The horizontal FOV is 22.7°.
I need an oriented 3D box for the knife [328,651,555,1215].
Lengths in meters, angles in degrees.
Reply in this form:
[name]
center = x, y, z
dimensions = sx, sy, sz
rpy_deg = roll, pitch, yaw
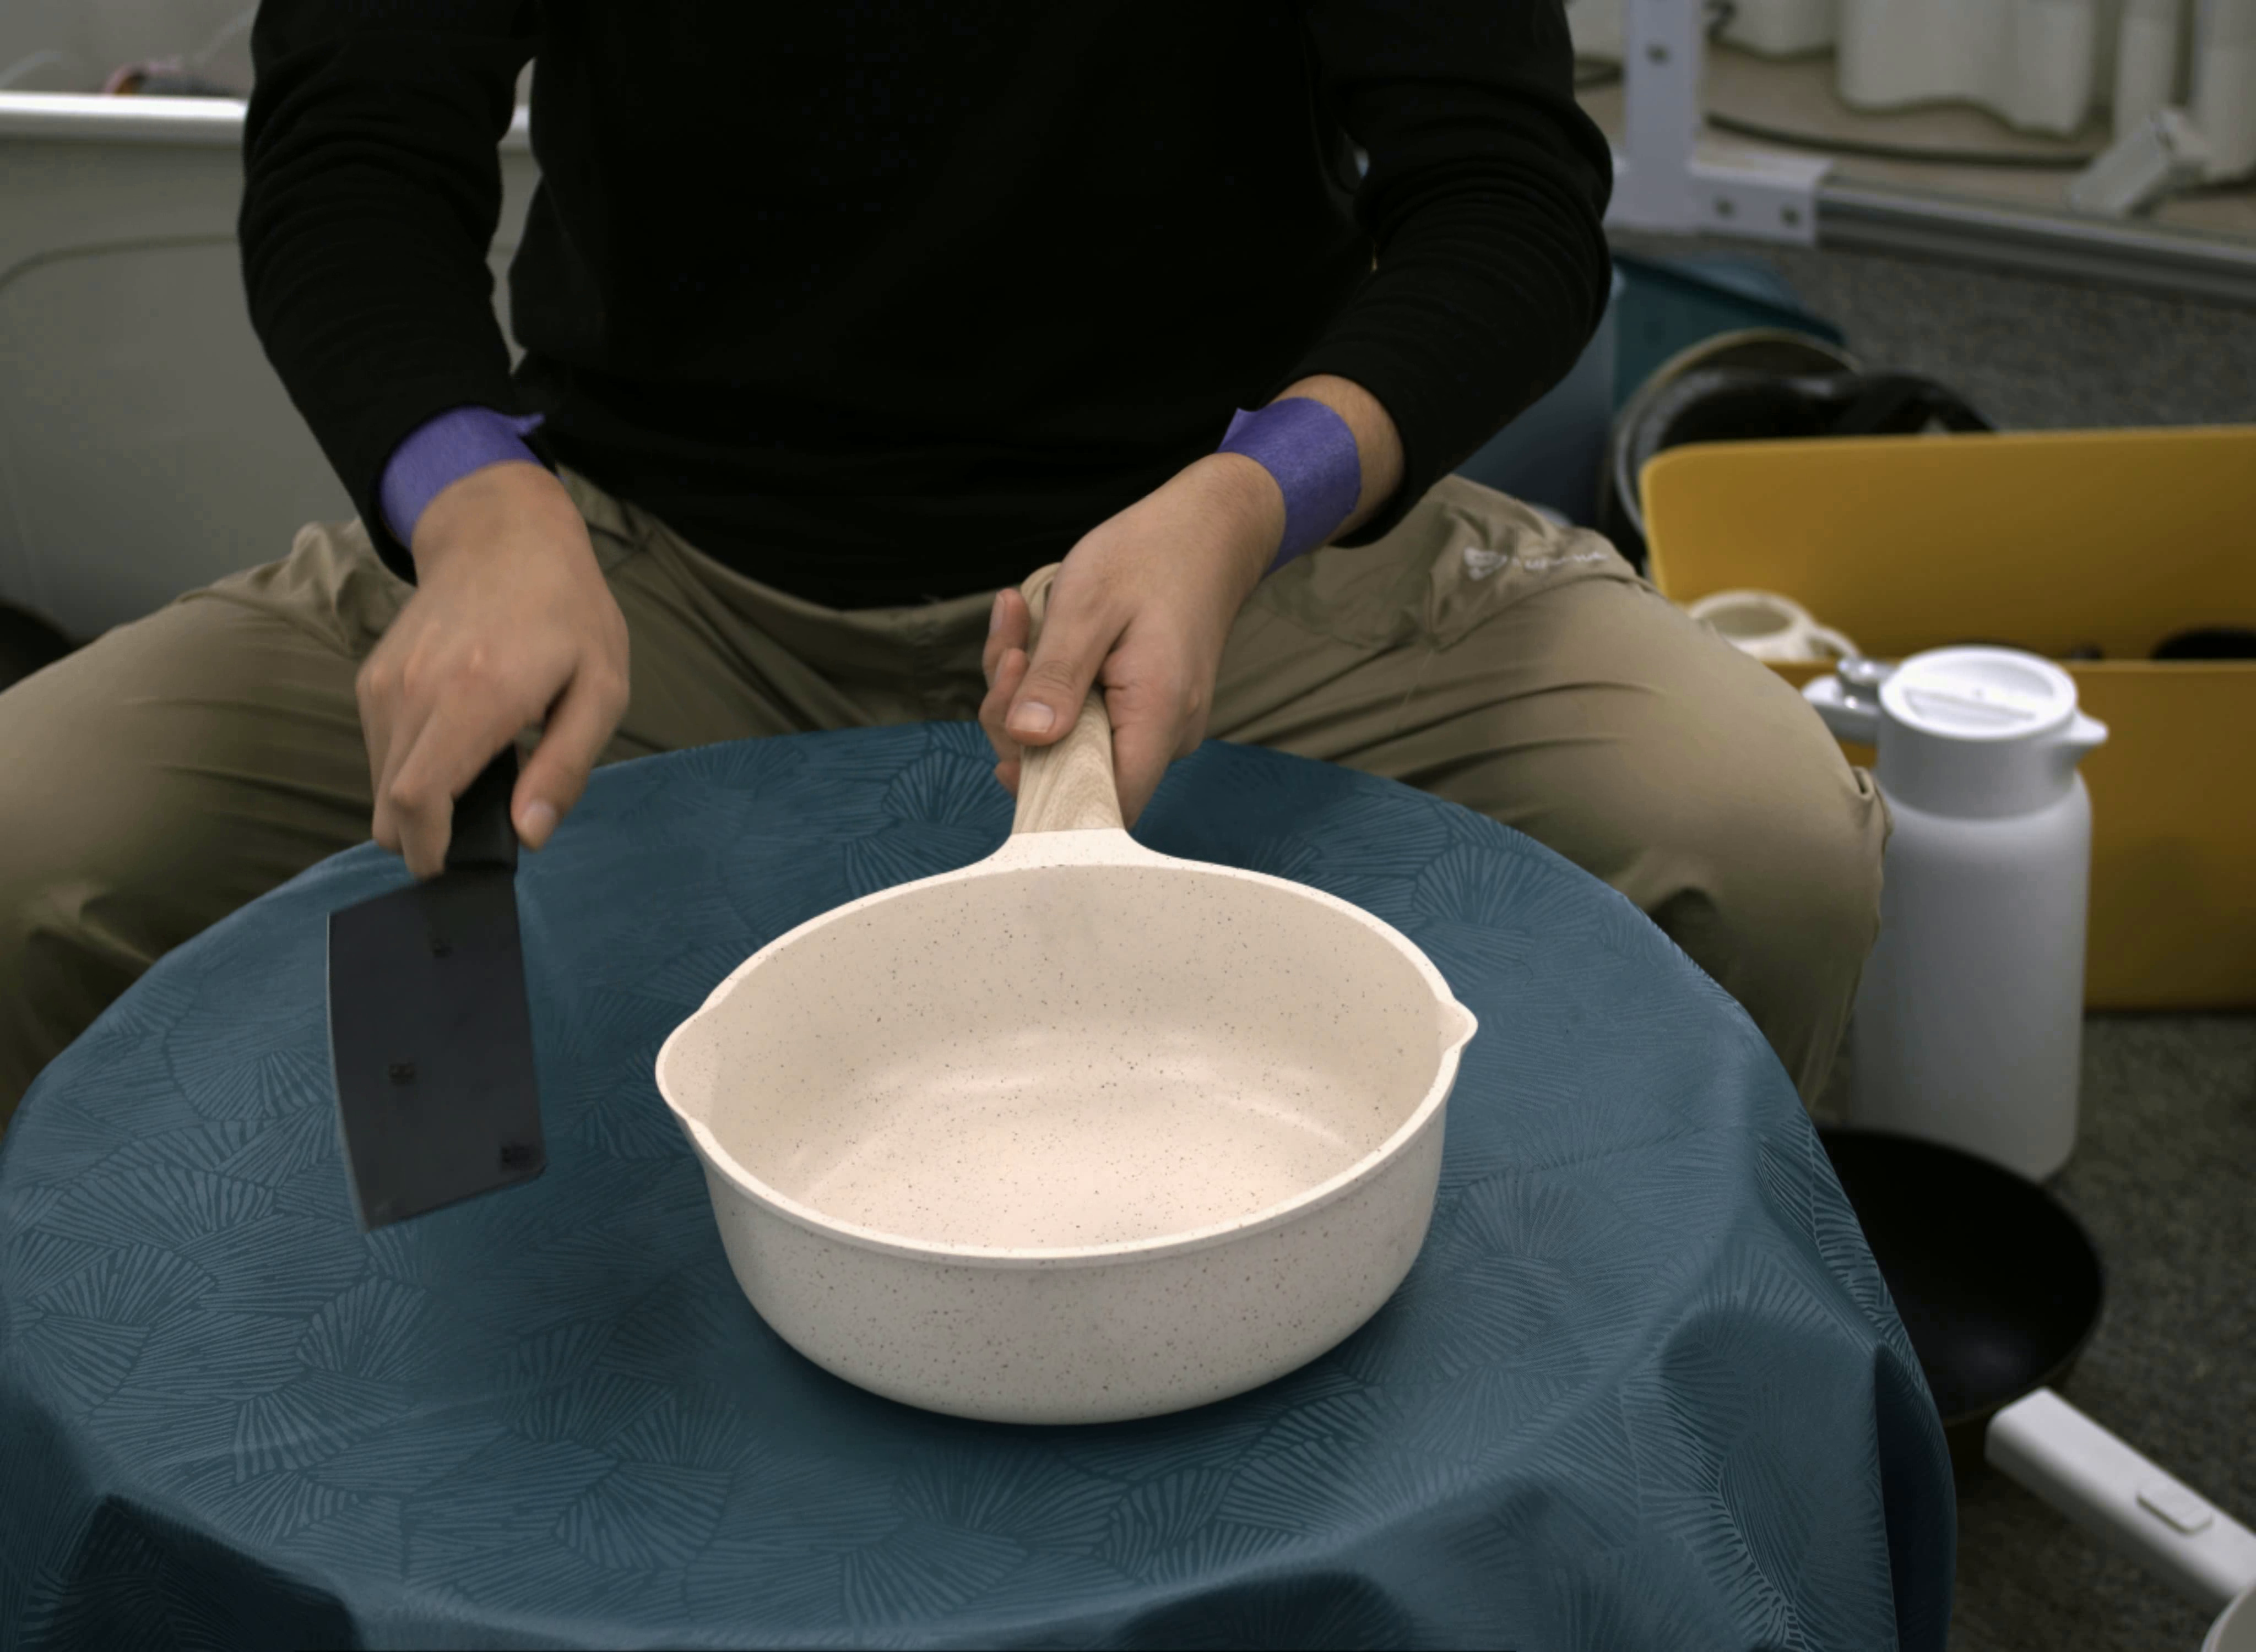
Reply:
[knife]
center = -0.225, 0.030, 1.842
dimensions = 0.080, 0.020, 0.307
rpy_deg = -16, 34, 5

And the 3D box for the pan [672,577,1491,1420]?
[pan]
center = -0.015, 0.054, 1.885
dimensions = 0.262, 0.101, 0.441
rpy_deg = -4, 27, 0
